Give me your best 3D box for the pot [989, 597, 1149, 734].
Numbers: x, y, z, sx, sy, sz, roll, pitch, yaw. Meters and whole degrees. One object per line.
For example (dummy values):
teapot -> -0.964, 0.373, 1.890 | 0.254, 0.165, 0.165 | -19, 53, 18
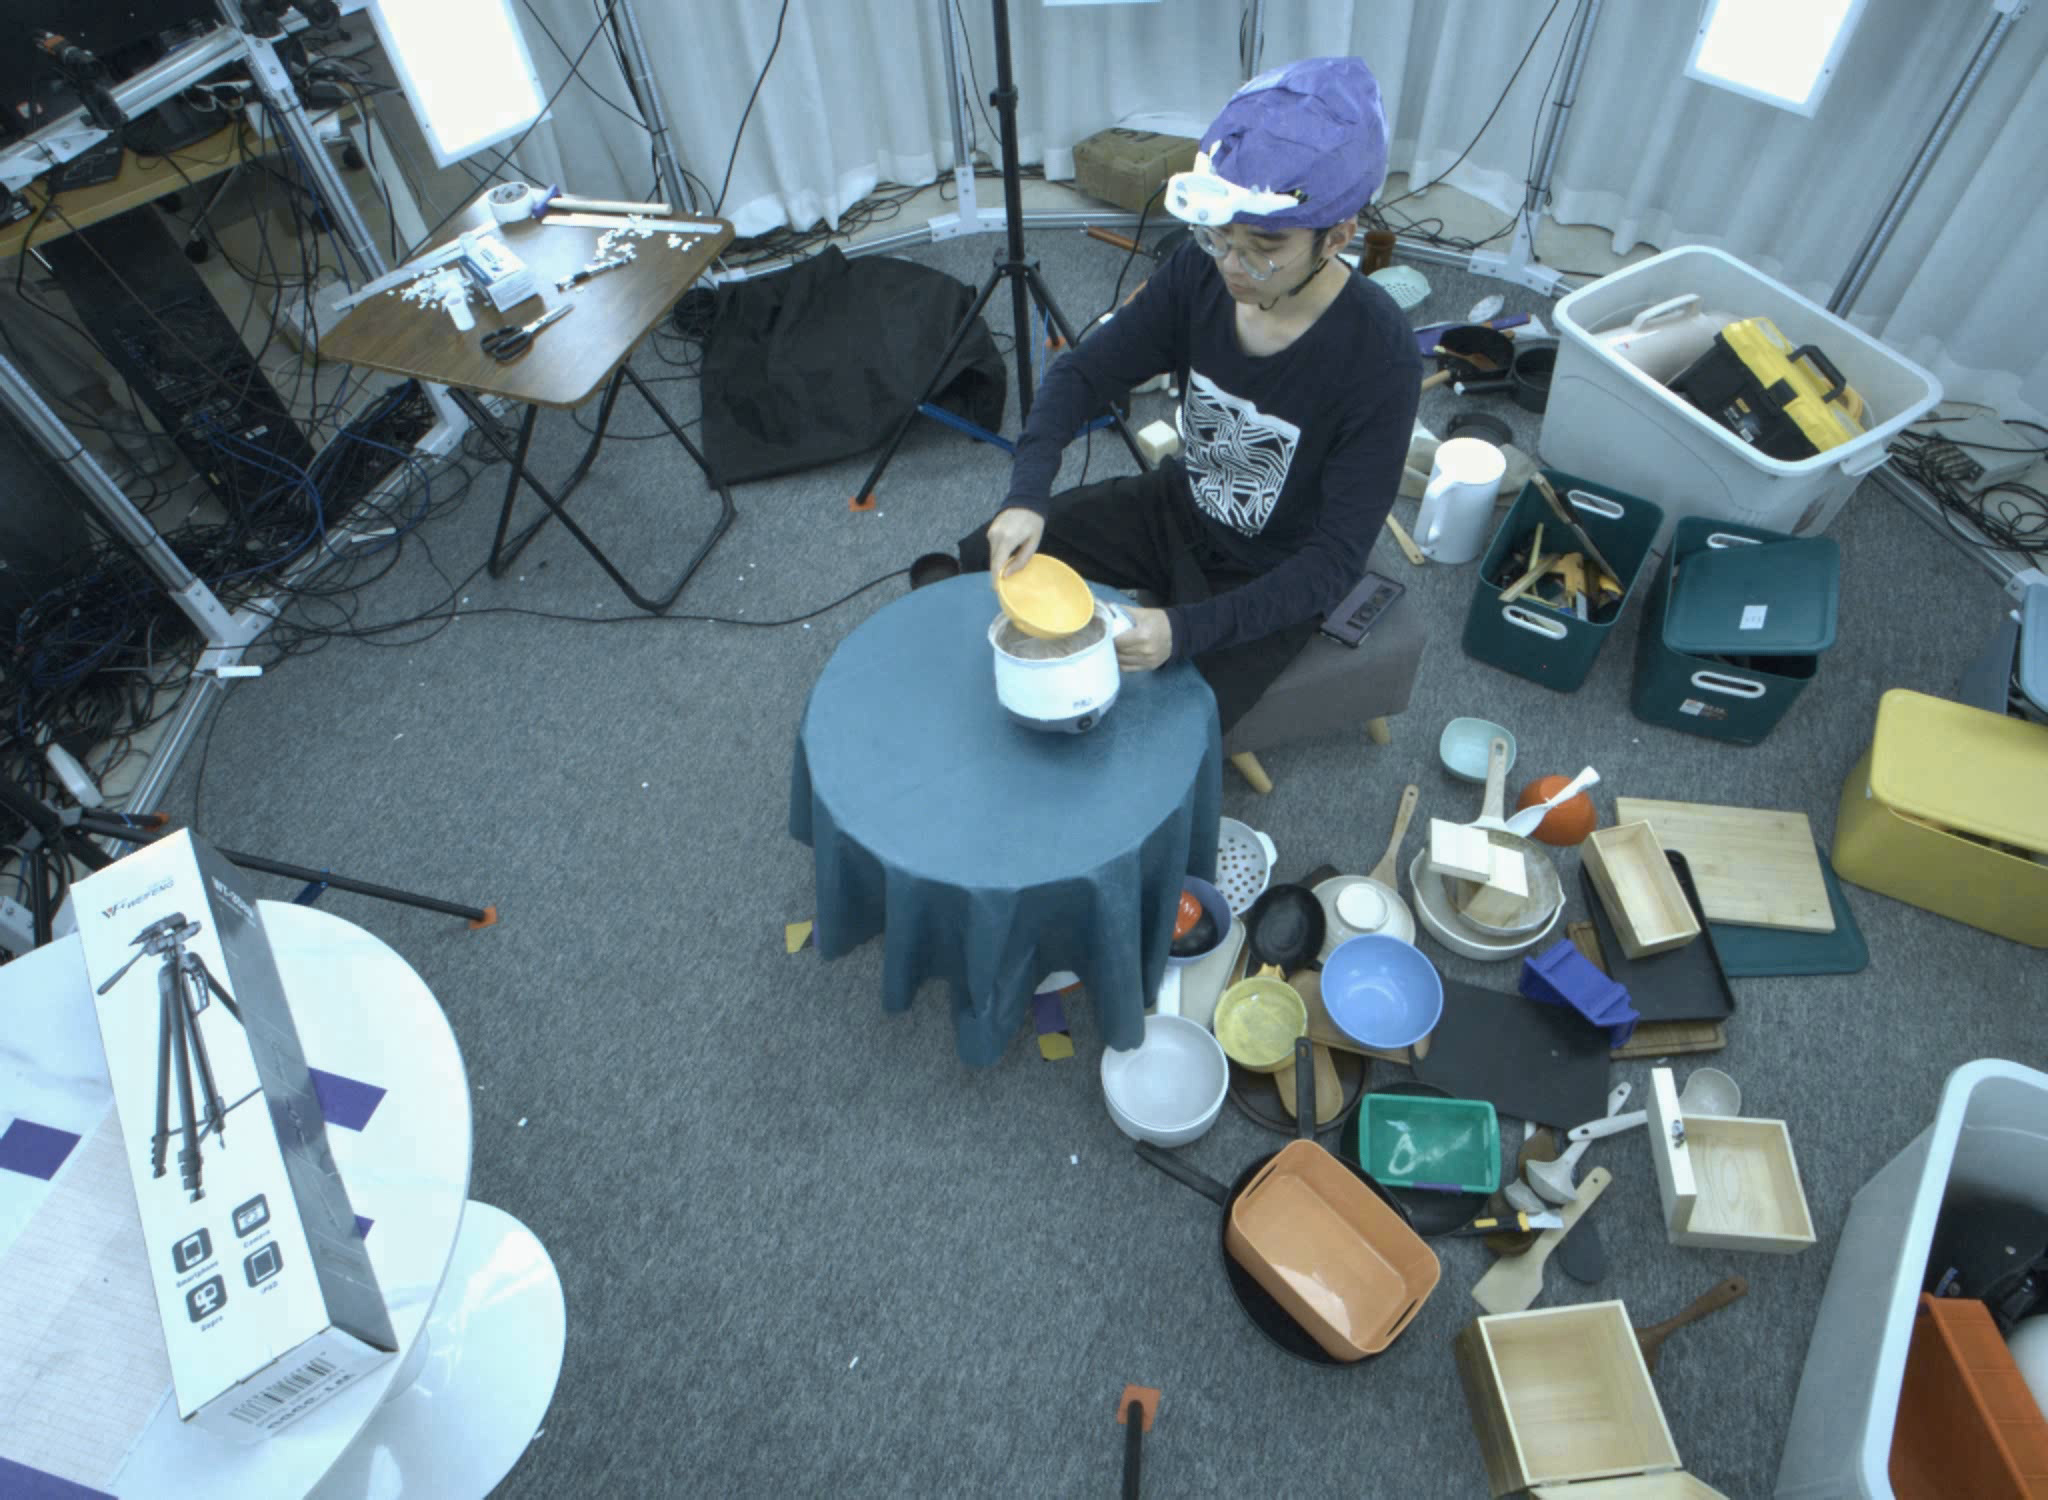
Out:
pot -> 0.071, -0.130, 1.776 | 0.236, 0.138, 0.175 | -19, 39, -18

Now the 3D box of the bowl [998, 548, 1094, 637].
bowl -> 0.022, -0.212, 1.746 | 0.147, 0.060, 0.144 | 13, 56, -18
